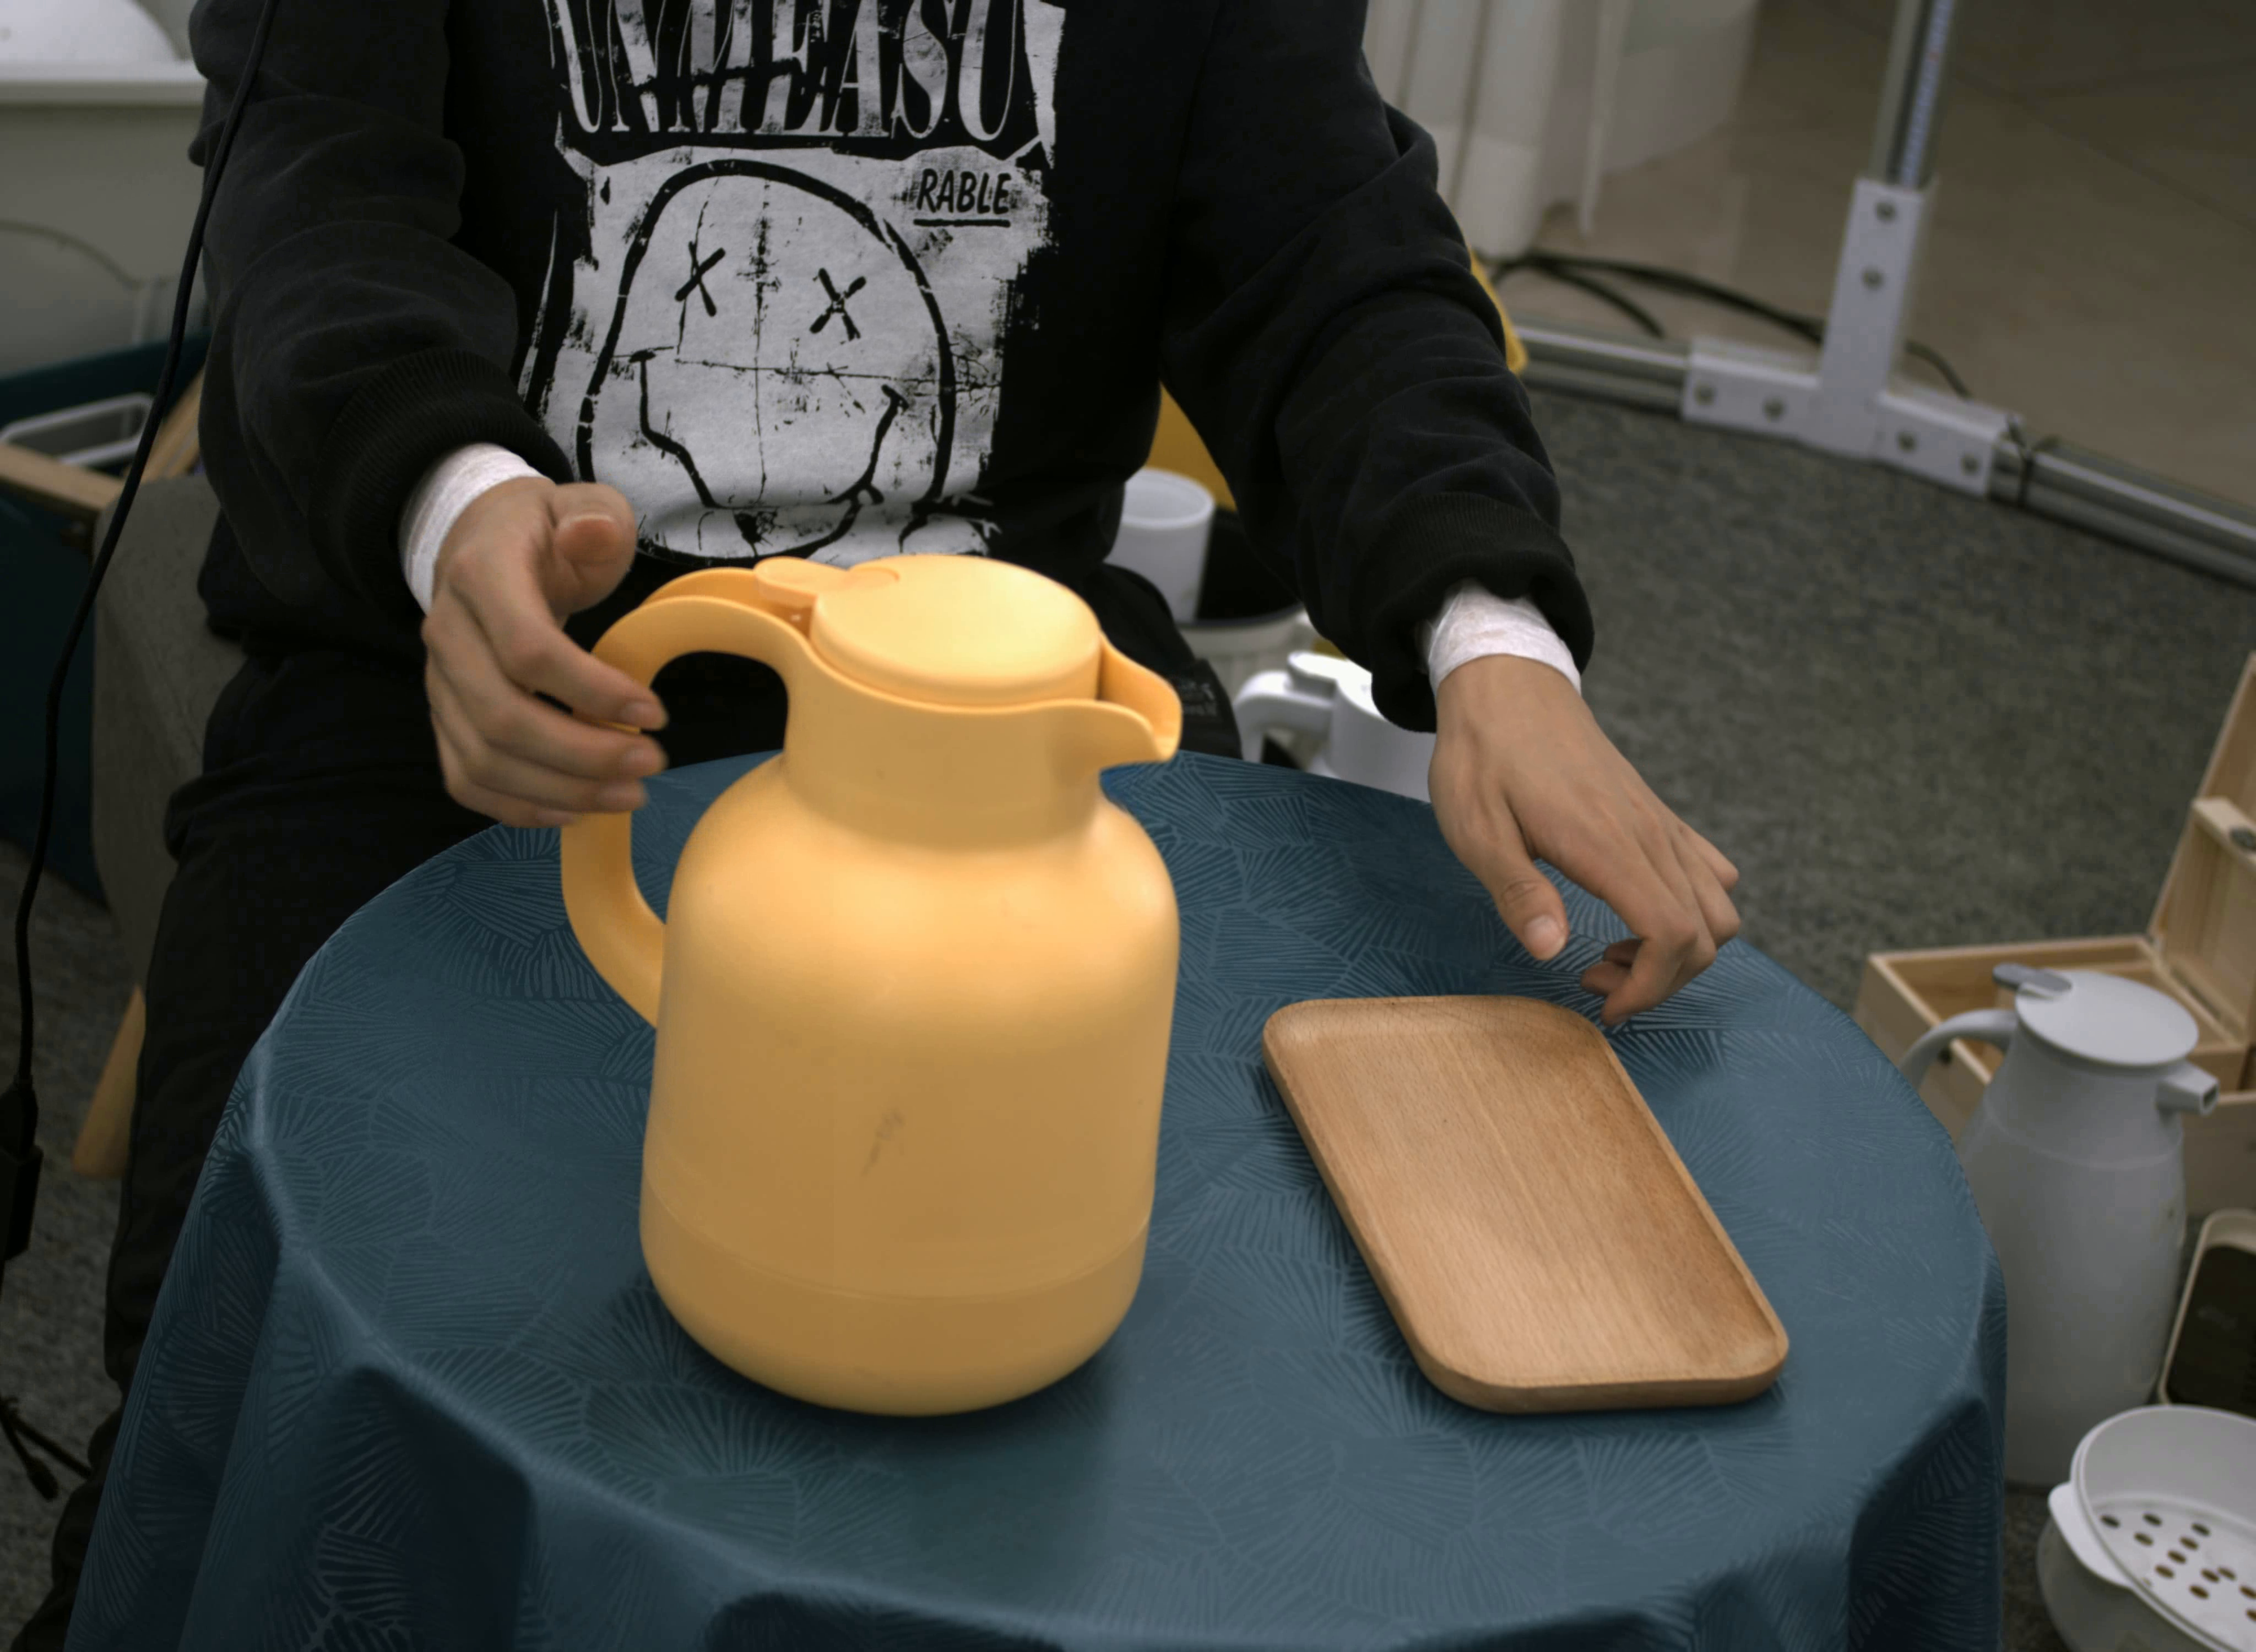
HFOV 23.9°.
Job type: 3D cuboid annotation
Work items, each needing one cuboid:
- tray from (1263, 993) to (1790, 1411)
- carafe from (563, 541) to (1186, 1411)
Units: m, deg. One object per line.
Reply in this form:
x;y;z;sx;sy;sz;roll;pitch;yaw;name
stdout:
0.131;0.125;1.813;0.130;0.023;0.253;2;26;-15;tray
-0.084;0.036;1.668;0.203;0.260;0.163;19;26;19;carafe
